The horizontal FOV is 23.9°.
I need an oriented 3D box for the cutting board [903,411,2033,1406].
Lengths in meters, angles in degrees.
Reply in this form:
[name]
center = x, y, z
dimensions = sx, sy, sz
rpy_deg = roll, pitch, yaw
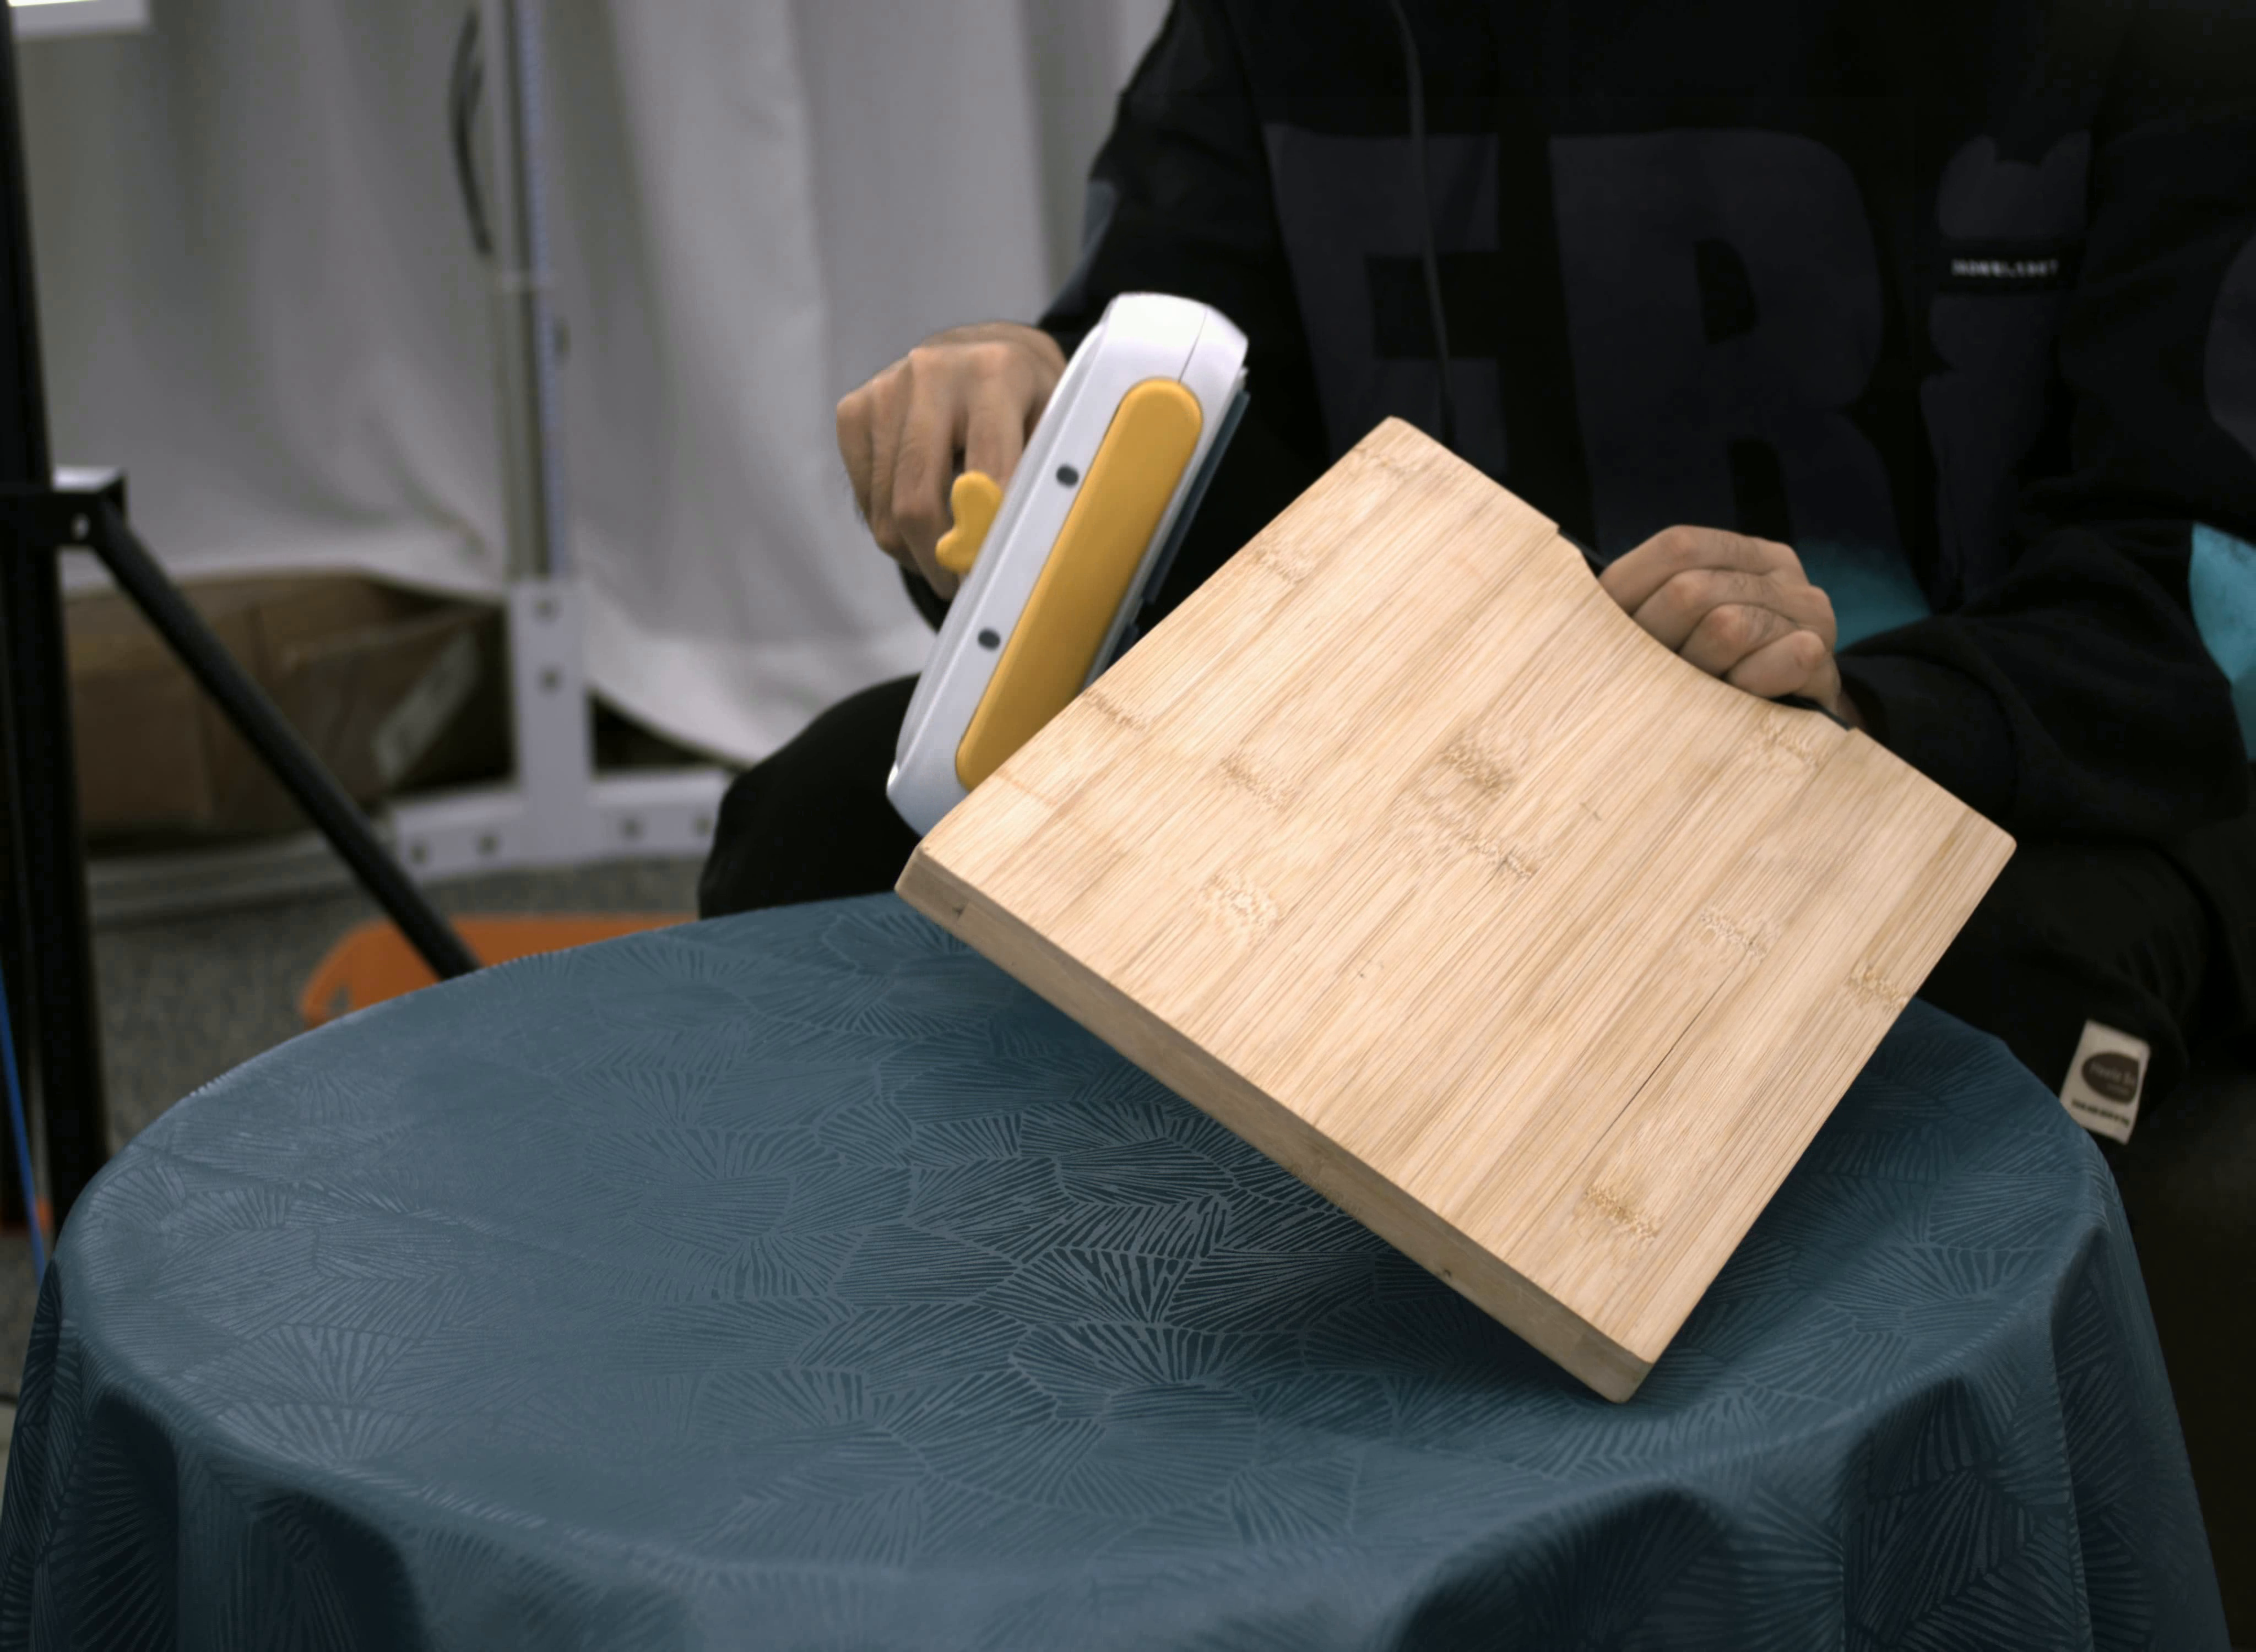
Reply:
[cutting board]
center = 0.109, 0.010, 1.536
dimensions = 0.252, 0.024, 0.344
rpy_deg = 35, 35, 8

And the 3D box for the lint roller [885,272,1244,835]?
[lint roller]
center = -0.036, -0.096, 1.761
dimensions = 0.073, 0.193, 0.194
rpy_deg = 19, 5, -13
